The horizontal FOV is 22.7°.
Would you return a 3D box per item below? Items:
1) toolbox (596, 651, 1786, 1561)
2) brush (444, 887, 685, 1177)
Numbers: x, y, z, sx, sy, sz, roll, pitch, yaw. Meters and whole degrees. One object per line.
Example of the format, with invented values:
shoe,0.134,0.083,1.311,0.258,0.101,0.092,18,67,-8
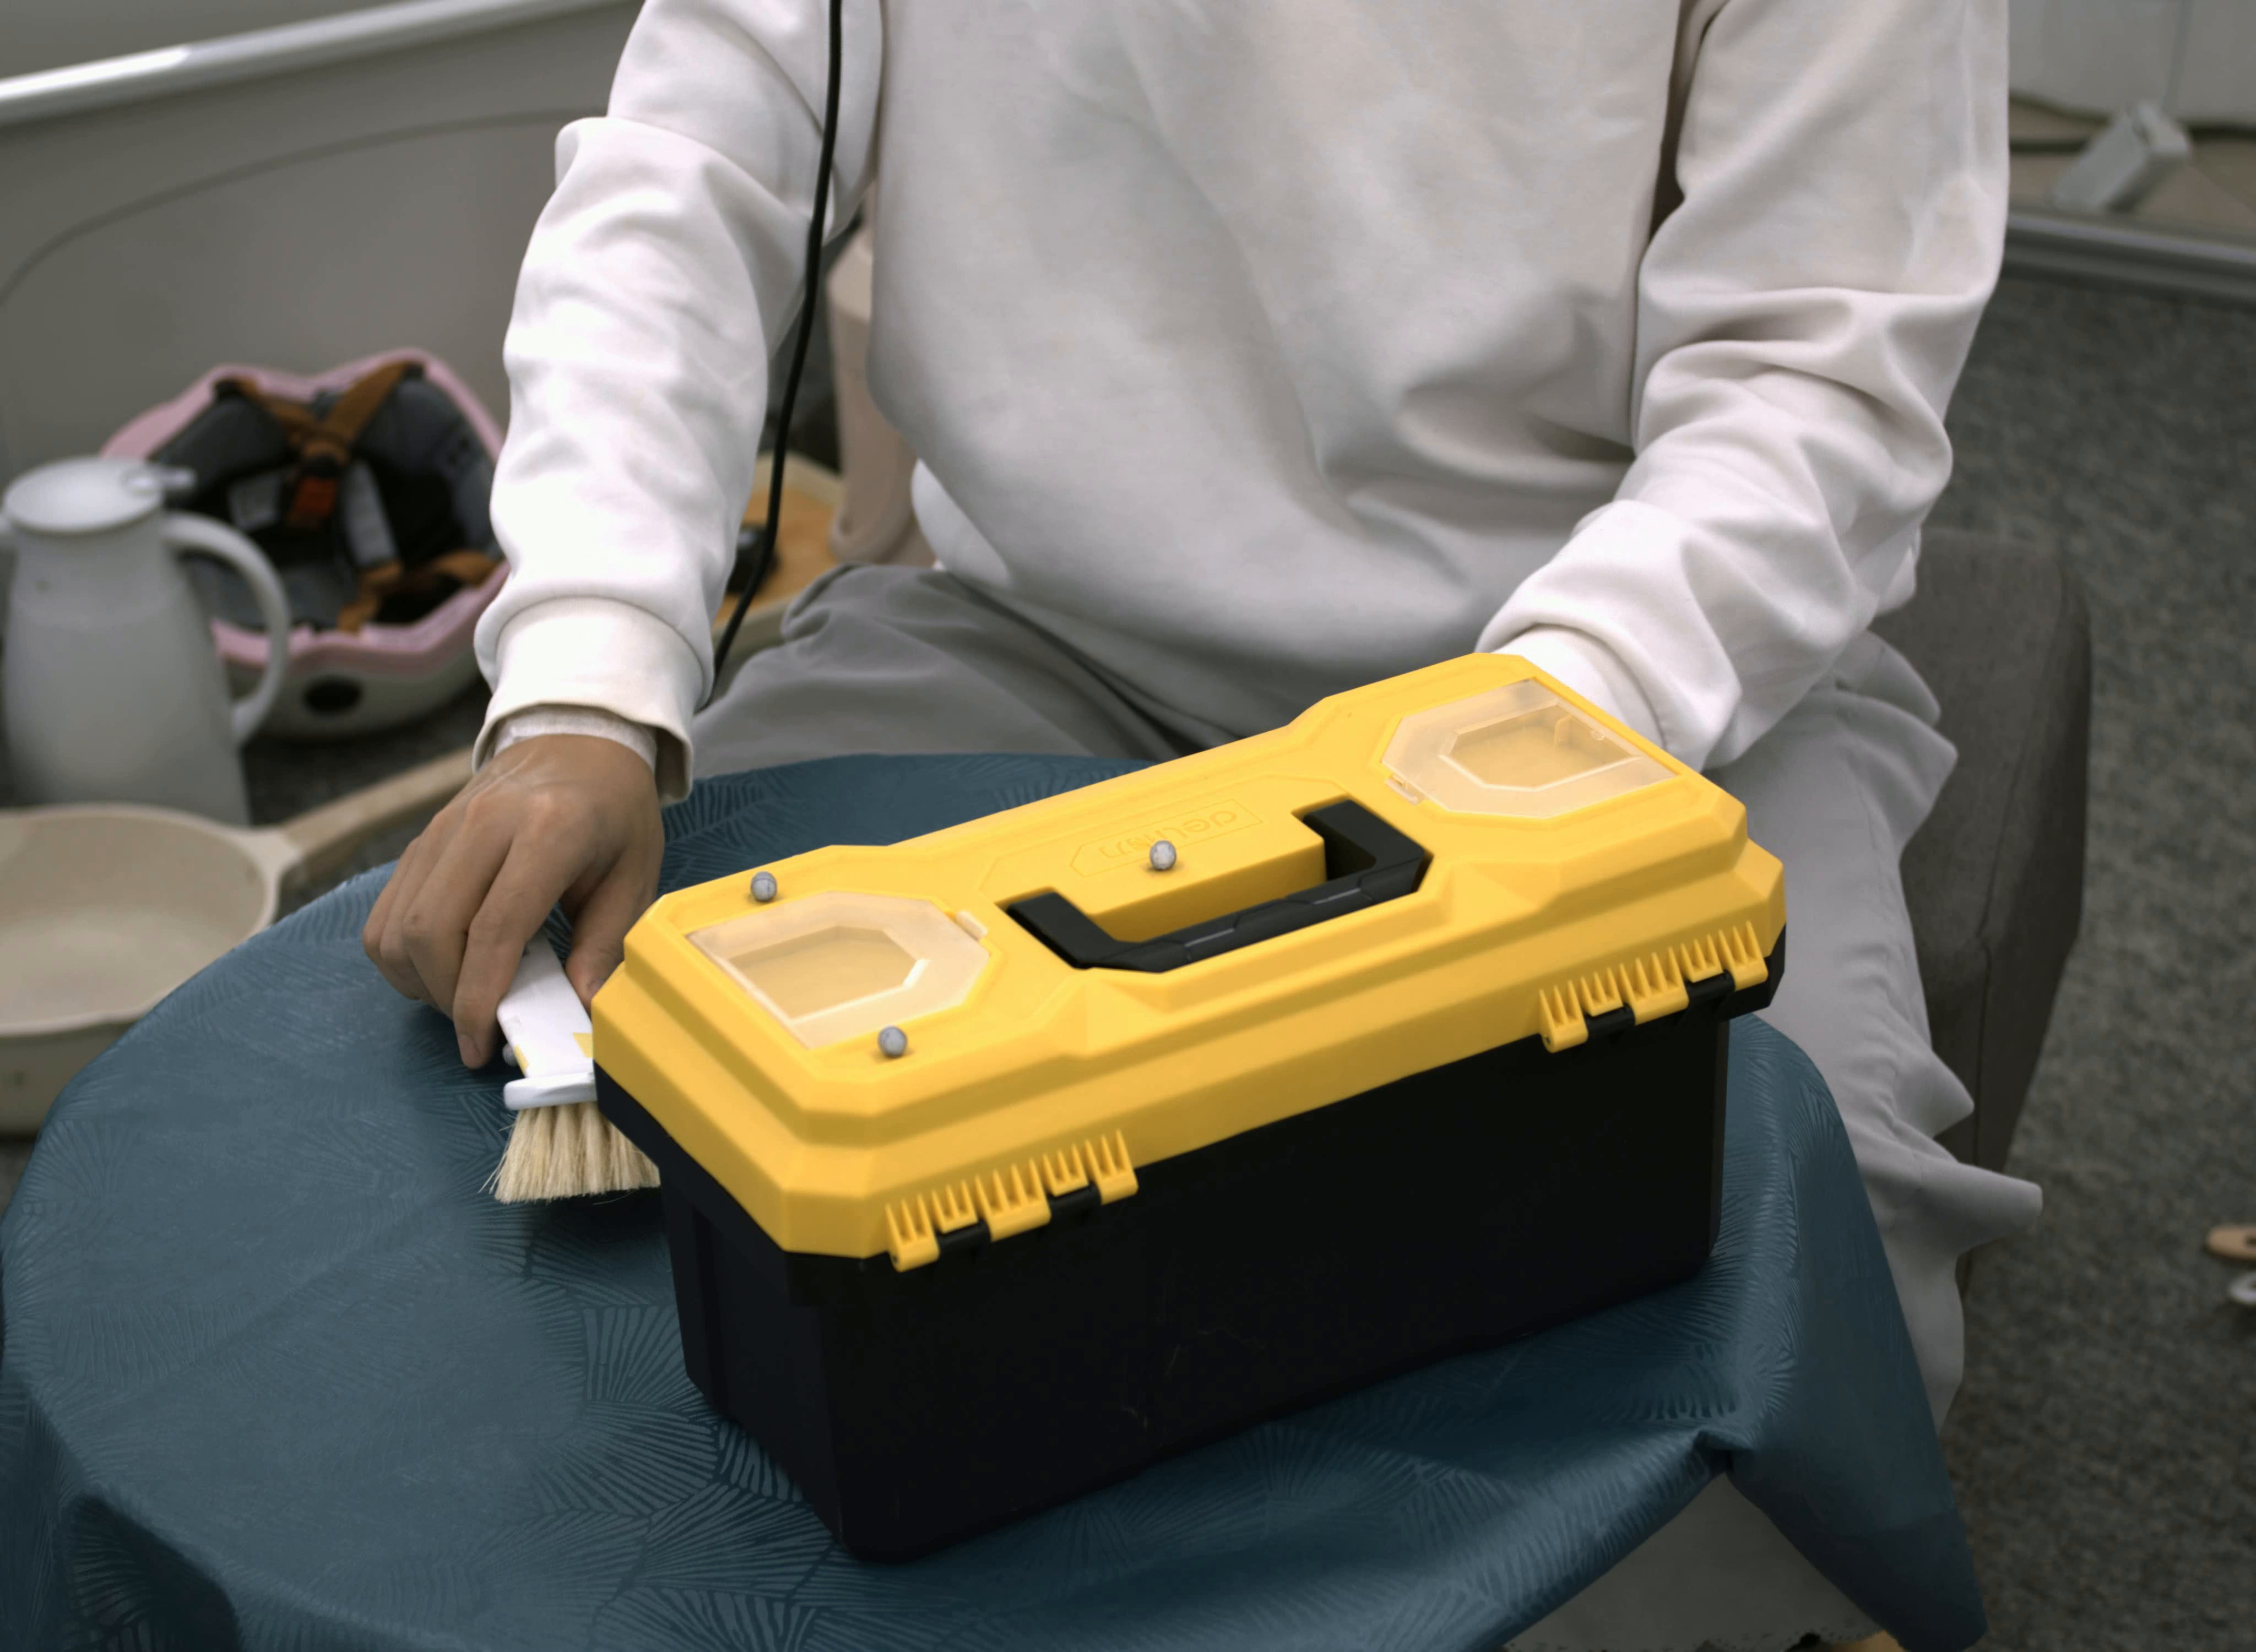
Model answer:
toolbox,0.022,0.082,1.752,0.353,0.171,0.182,-16,31,-26
brush,-0.199,0.075,1.949,0.068,0.056,0.267,2,11,-19
